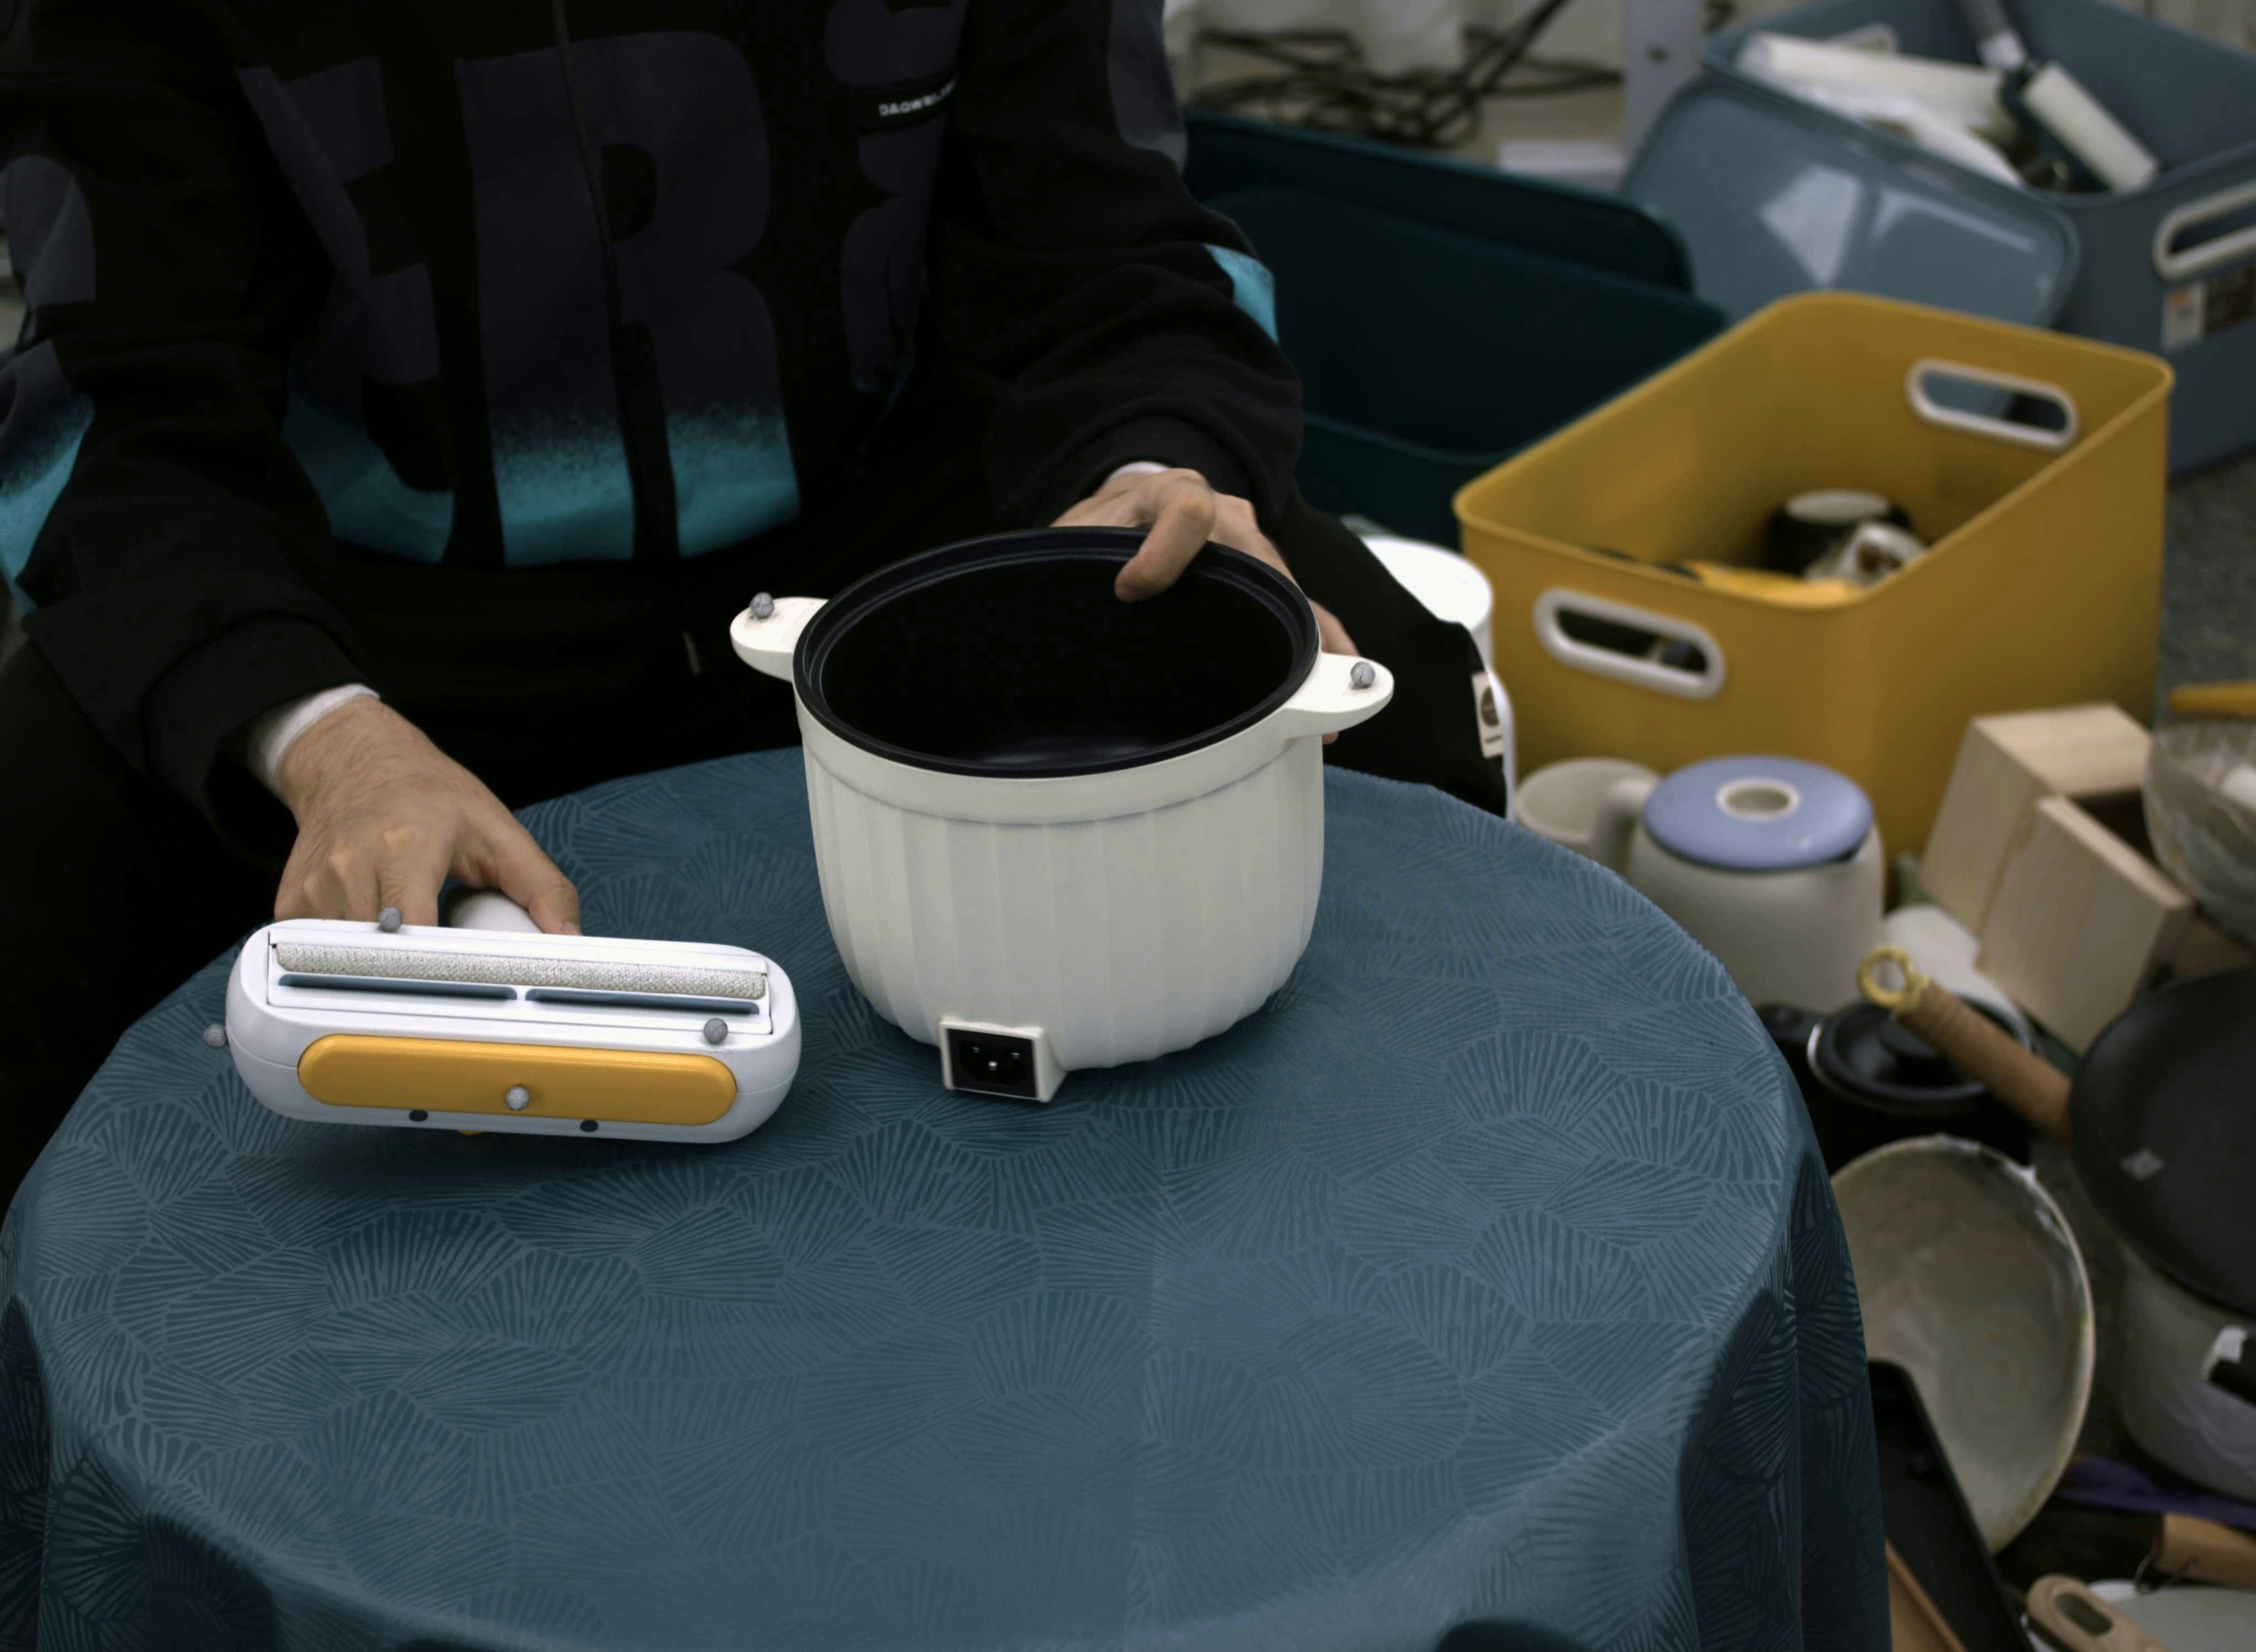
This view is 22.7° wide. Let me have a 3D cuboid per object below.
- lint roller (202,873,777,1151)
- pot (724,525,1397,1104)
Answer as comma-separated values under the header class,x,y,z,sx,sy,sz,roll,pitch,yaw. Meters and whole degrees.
class,x,y,z,sx,sy,sz,roll,pitch,yaw
lint roller,-0.219,0.050,1.945,0.192,0.073,0.195,1,25,-6
pot,-0.021,-0.008,1.959,0.239,0.141,0.194,6,32,15
